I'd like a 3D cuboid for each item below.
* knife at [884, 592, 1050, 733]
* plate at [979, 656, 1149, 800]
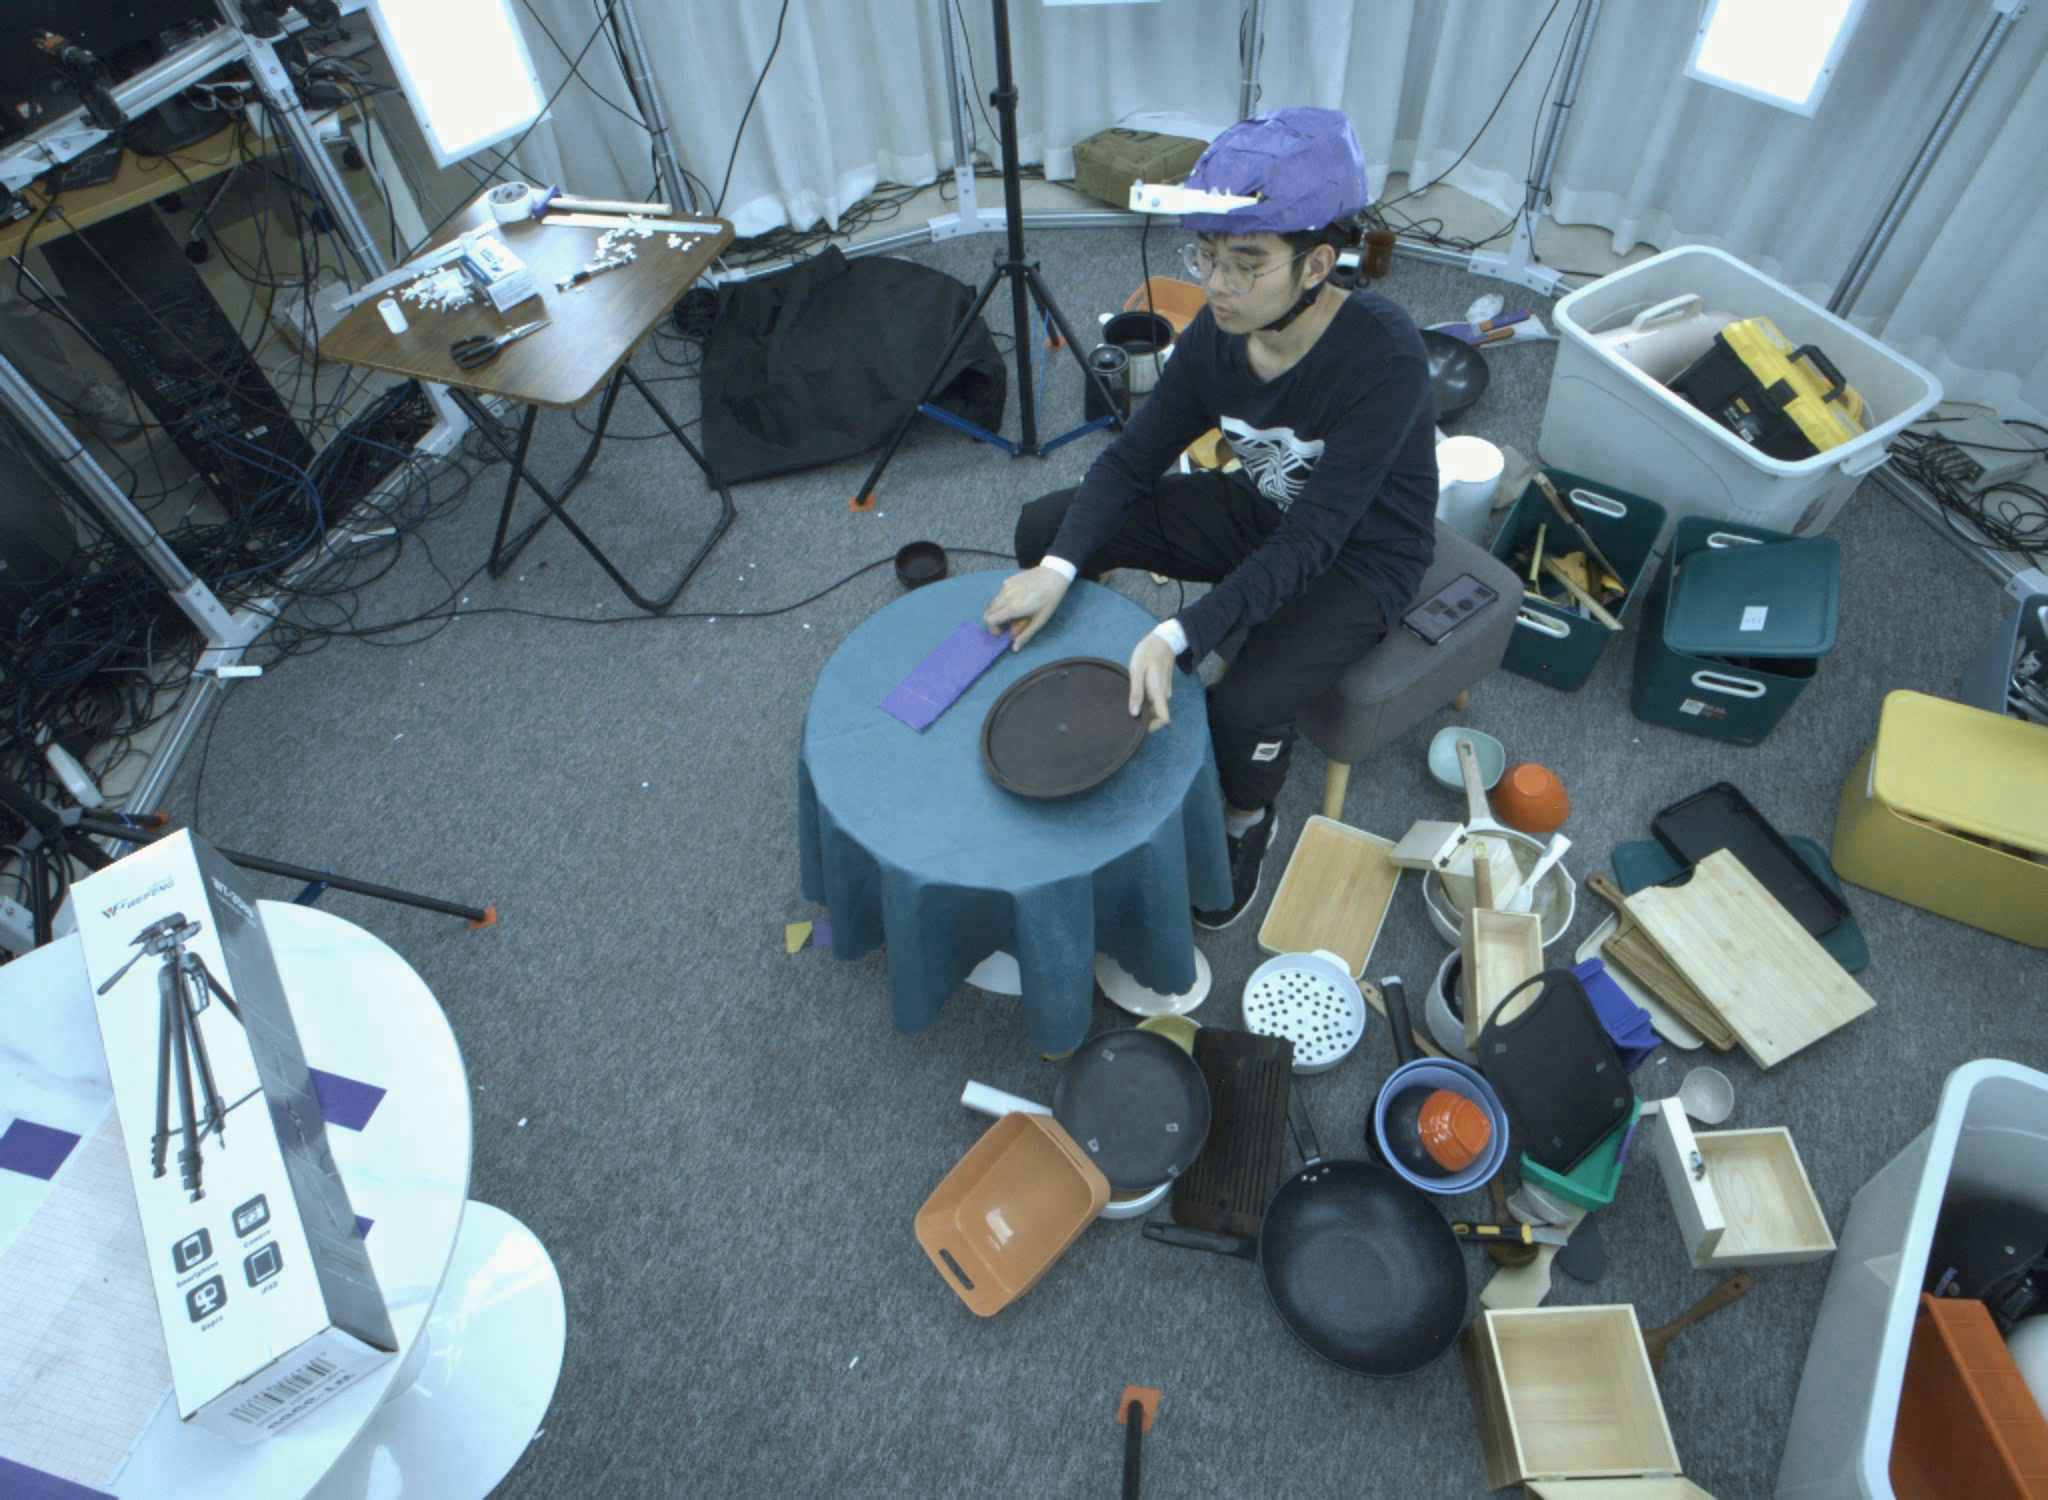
[{"bbox_3d":[-0.089,-0.151,1.889,0.102,0.032,0.317,32,61,23],"label":"knife"},{"bbox_3d":[0.057,-0.033,1.766,0.252,0.029,0.252,-10,53,15],"label":"plate"}]
